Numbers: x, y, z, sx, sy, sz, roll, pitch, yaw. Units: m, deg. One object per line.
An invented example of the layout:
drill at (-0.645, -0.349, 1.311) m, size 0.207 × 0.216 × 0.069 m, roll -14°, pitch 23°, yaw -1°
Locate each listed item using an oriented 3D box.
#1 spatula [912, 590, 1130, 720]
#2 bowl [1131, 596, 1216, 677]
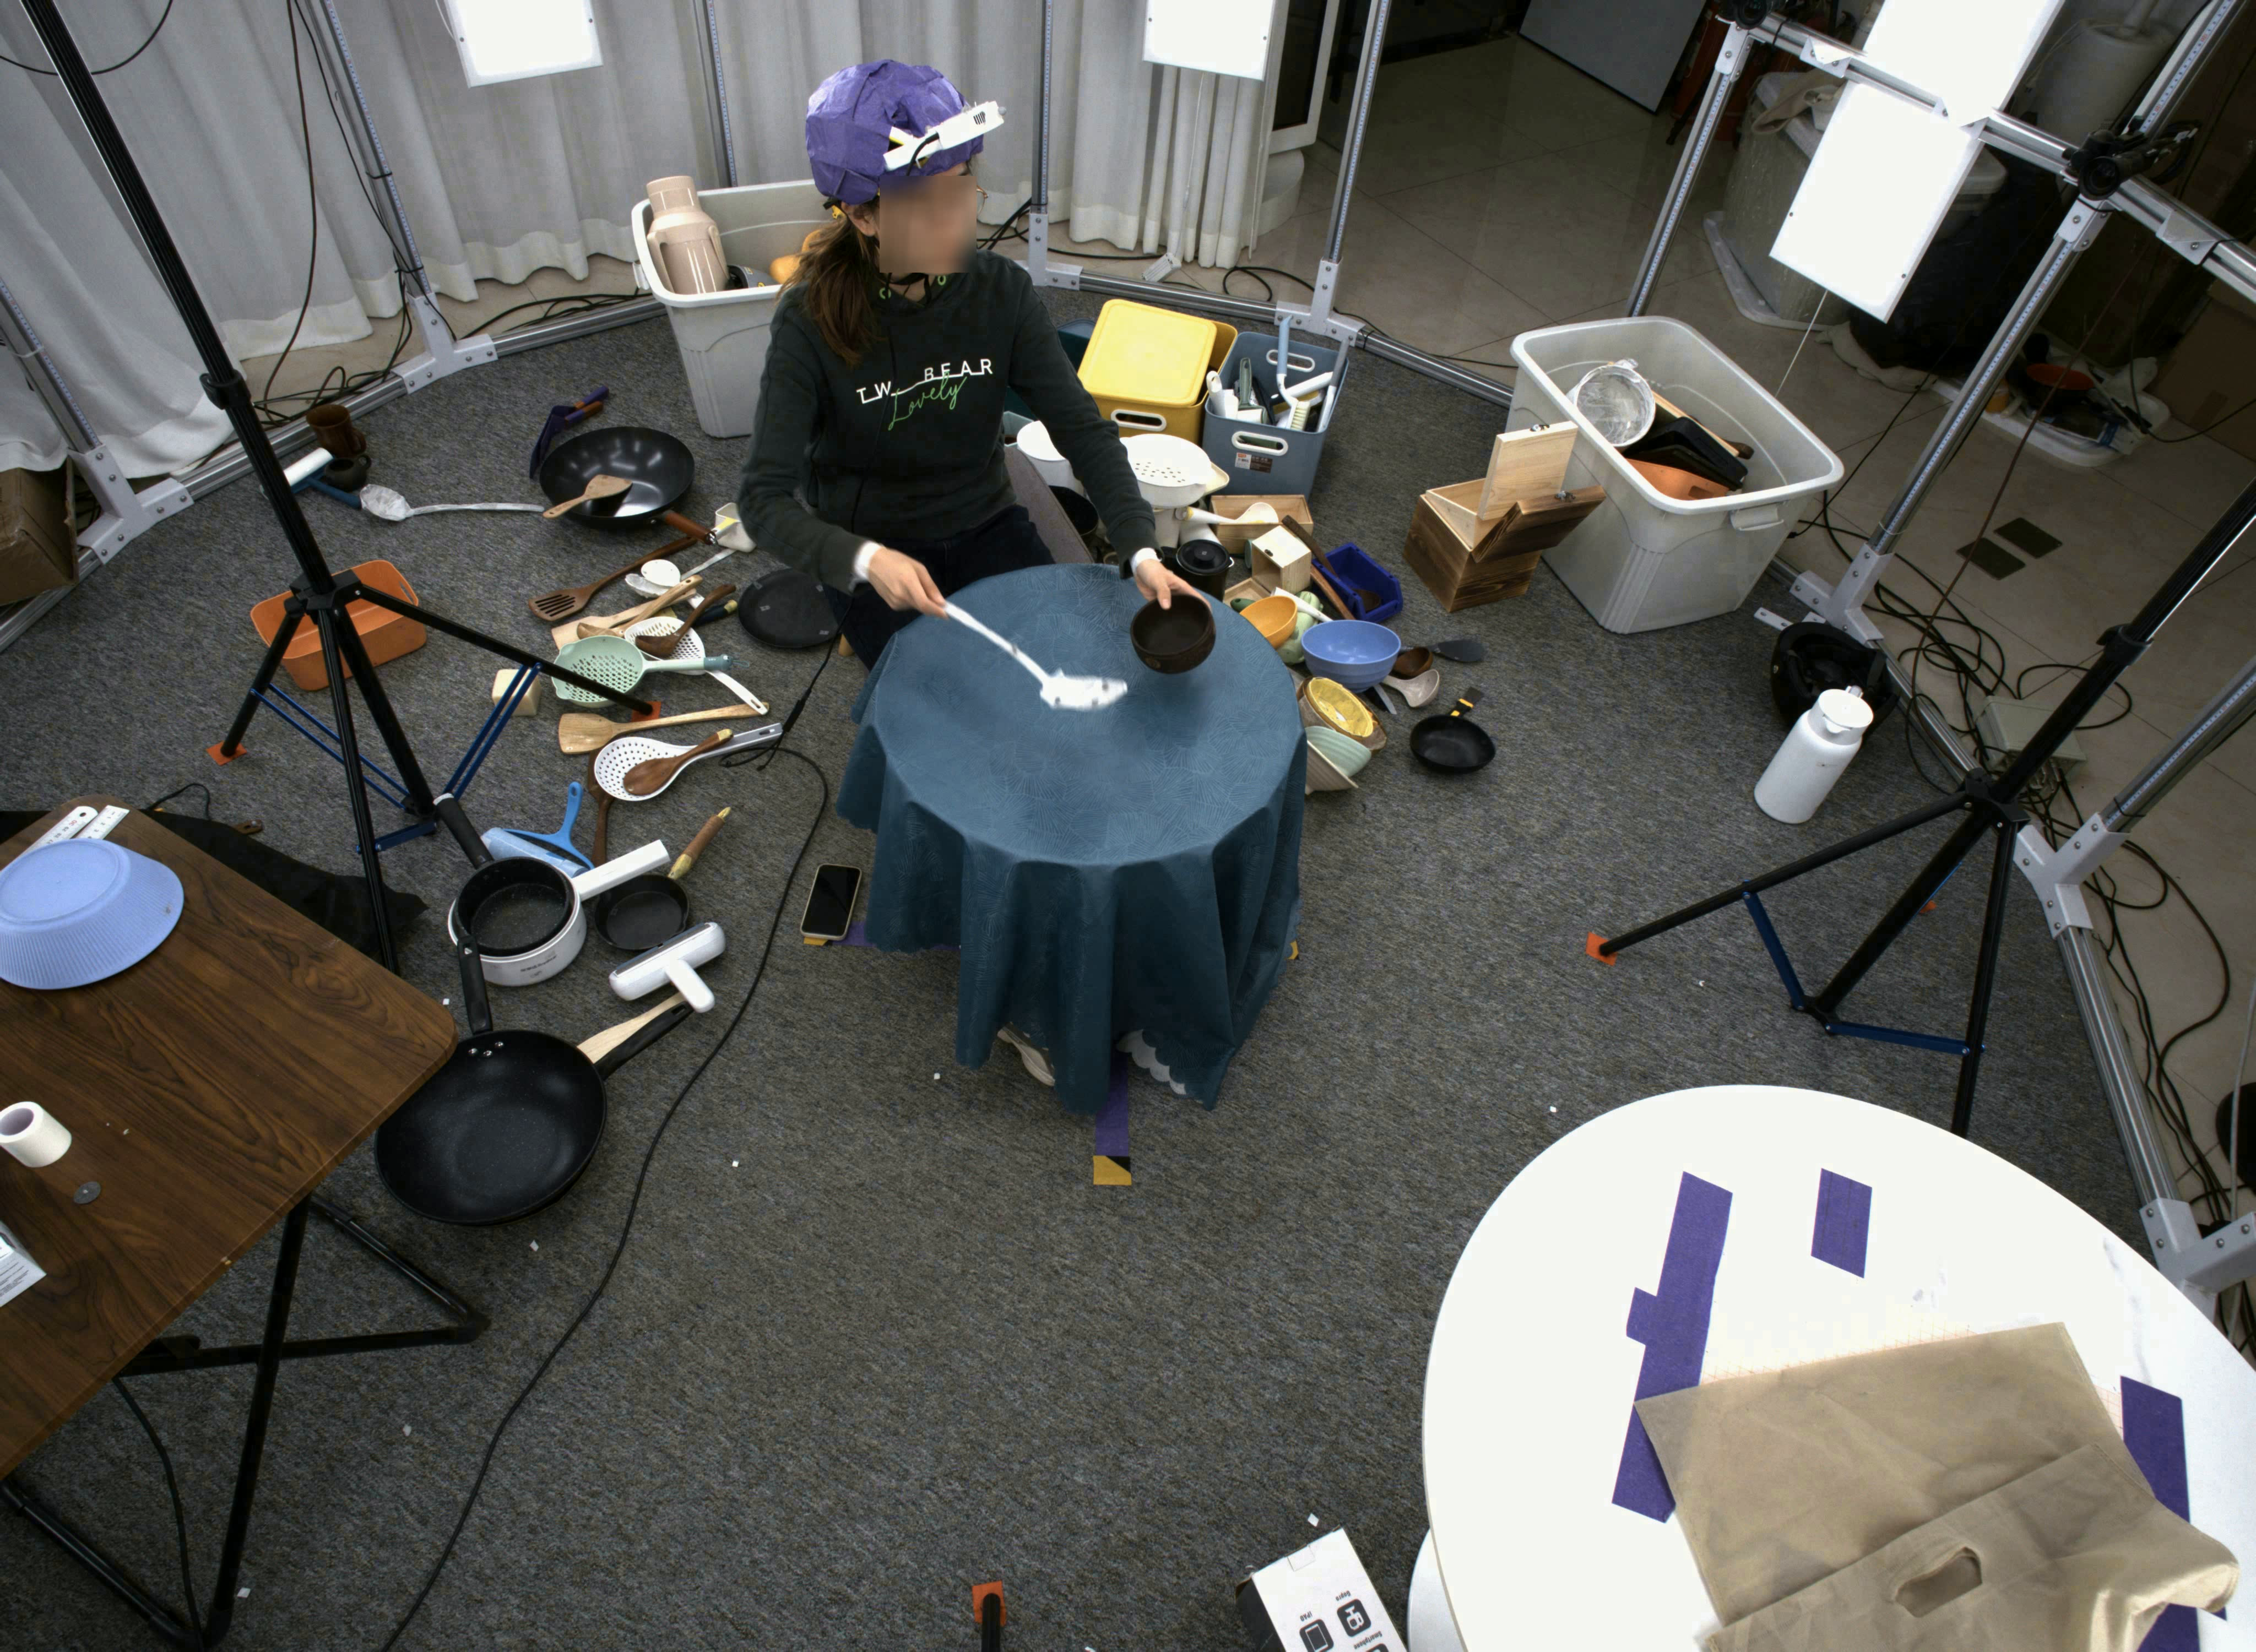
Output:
spatula at (-0.158, -0.234, 1.697) m, size 0.369 × 0.044 × 0.099 m, roll 37°, pitch 44°, yaw 20°
bowl at (0.067, -0.258, 1.806) m, size 0.118 × 0.068 × 0.121 m, roll -8°, pitch 51°, yaw 10°
